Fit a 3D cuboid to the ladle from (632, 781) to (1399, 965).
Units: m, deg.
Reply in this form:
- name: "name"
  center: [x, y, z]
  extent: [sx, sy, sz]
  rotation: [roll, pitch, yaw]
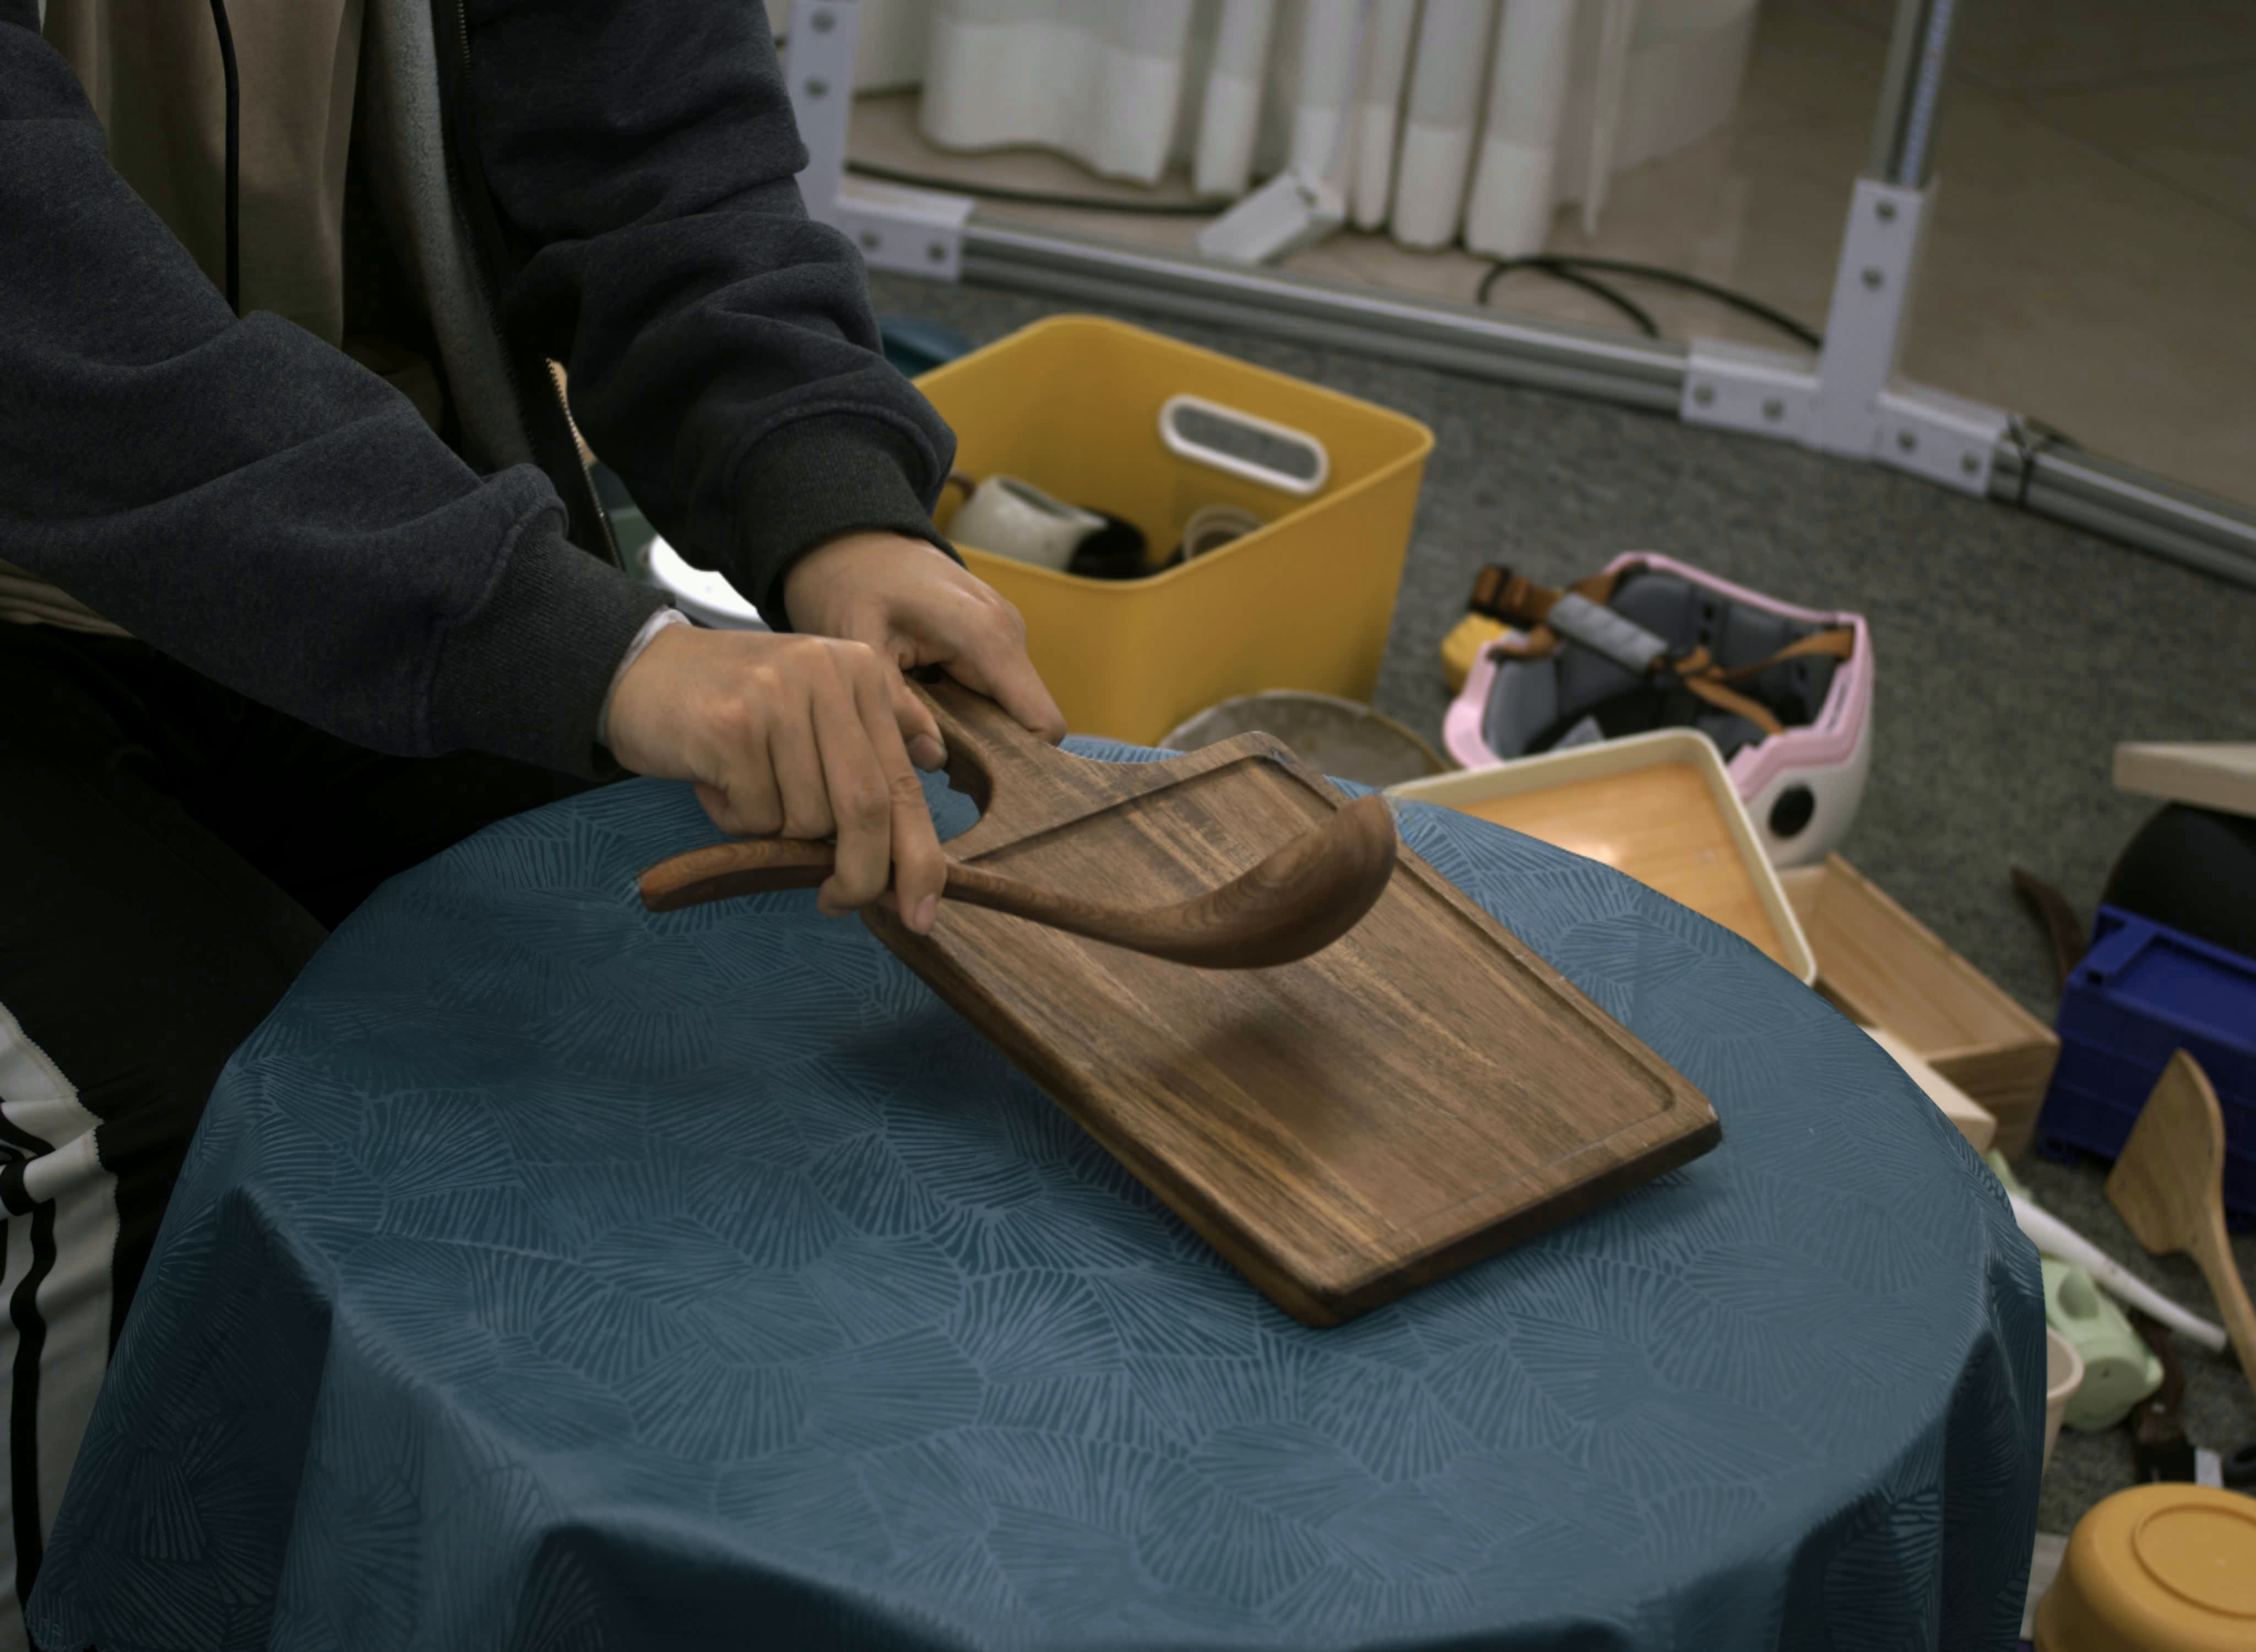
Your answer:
- name: "ladle"
  center: [-0.037, 0.009, 1.798]
  extent: [0.259, 0.076, 0.065]
  rotation: [5, 60, -7]

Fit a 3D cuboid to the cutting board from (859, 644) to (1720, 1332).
- name: "cutting board"
  center: [0.024, 0.037, 1.879]
  extent: [0.200, 0.023, 0.355]
  rotation: [-19, 47, -37]
